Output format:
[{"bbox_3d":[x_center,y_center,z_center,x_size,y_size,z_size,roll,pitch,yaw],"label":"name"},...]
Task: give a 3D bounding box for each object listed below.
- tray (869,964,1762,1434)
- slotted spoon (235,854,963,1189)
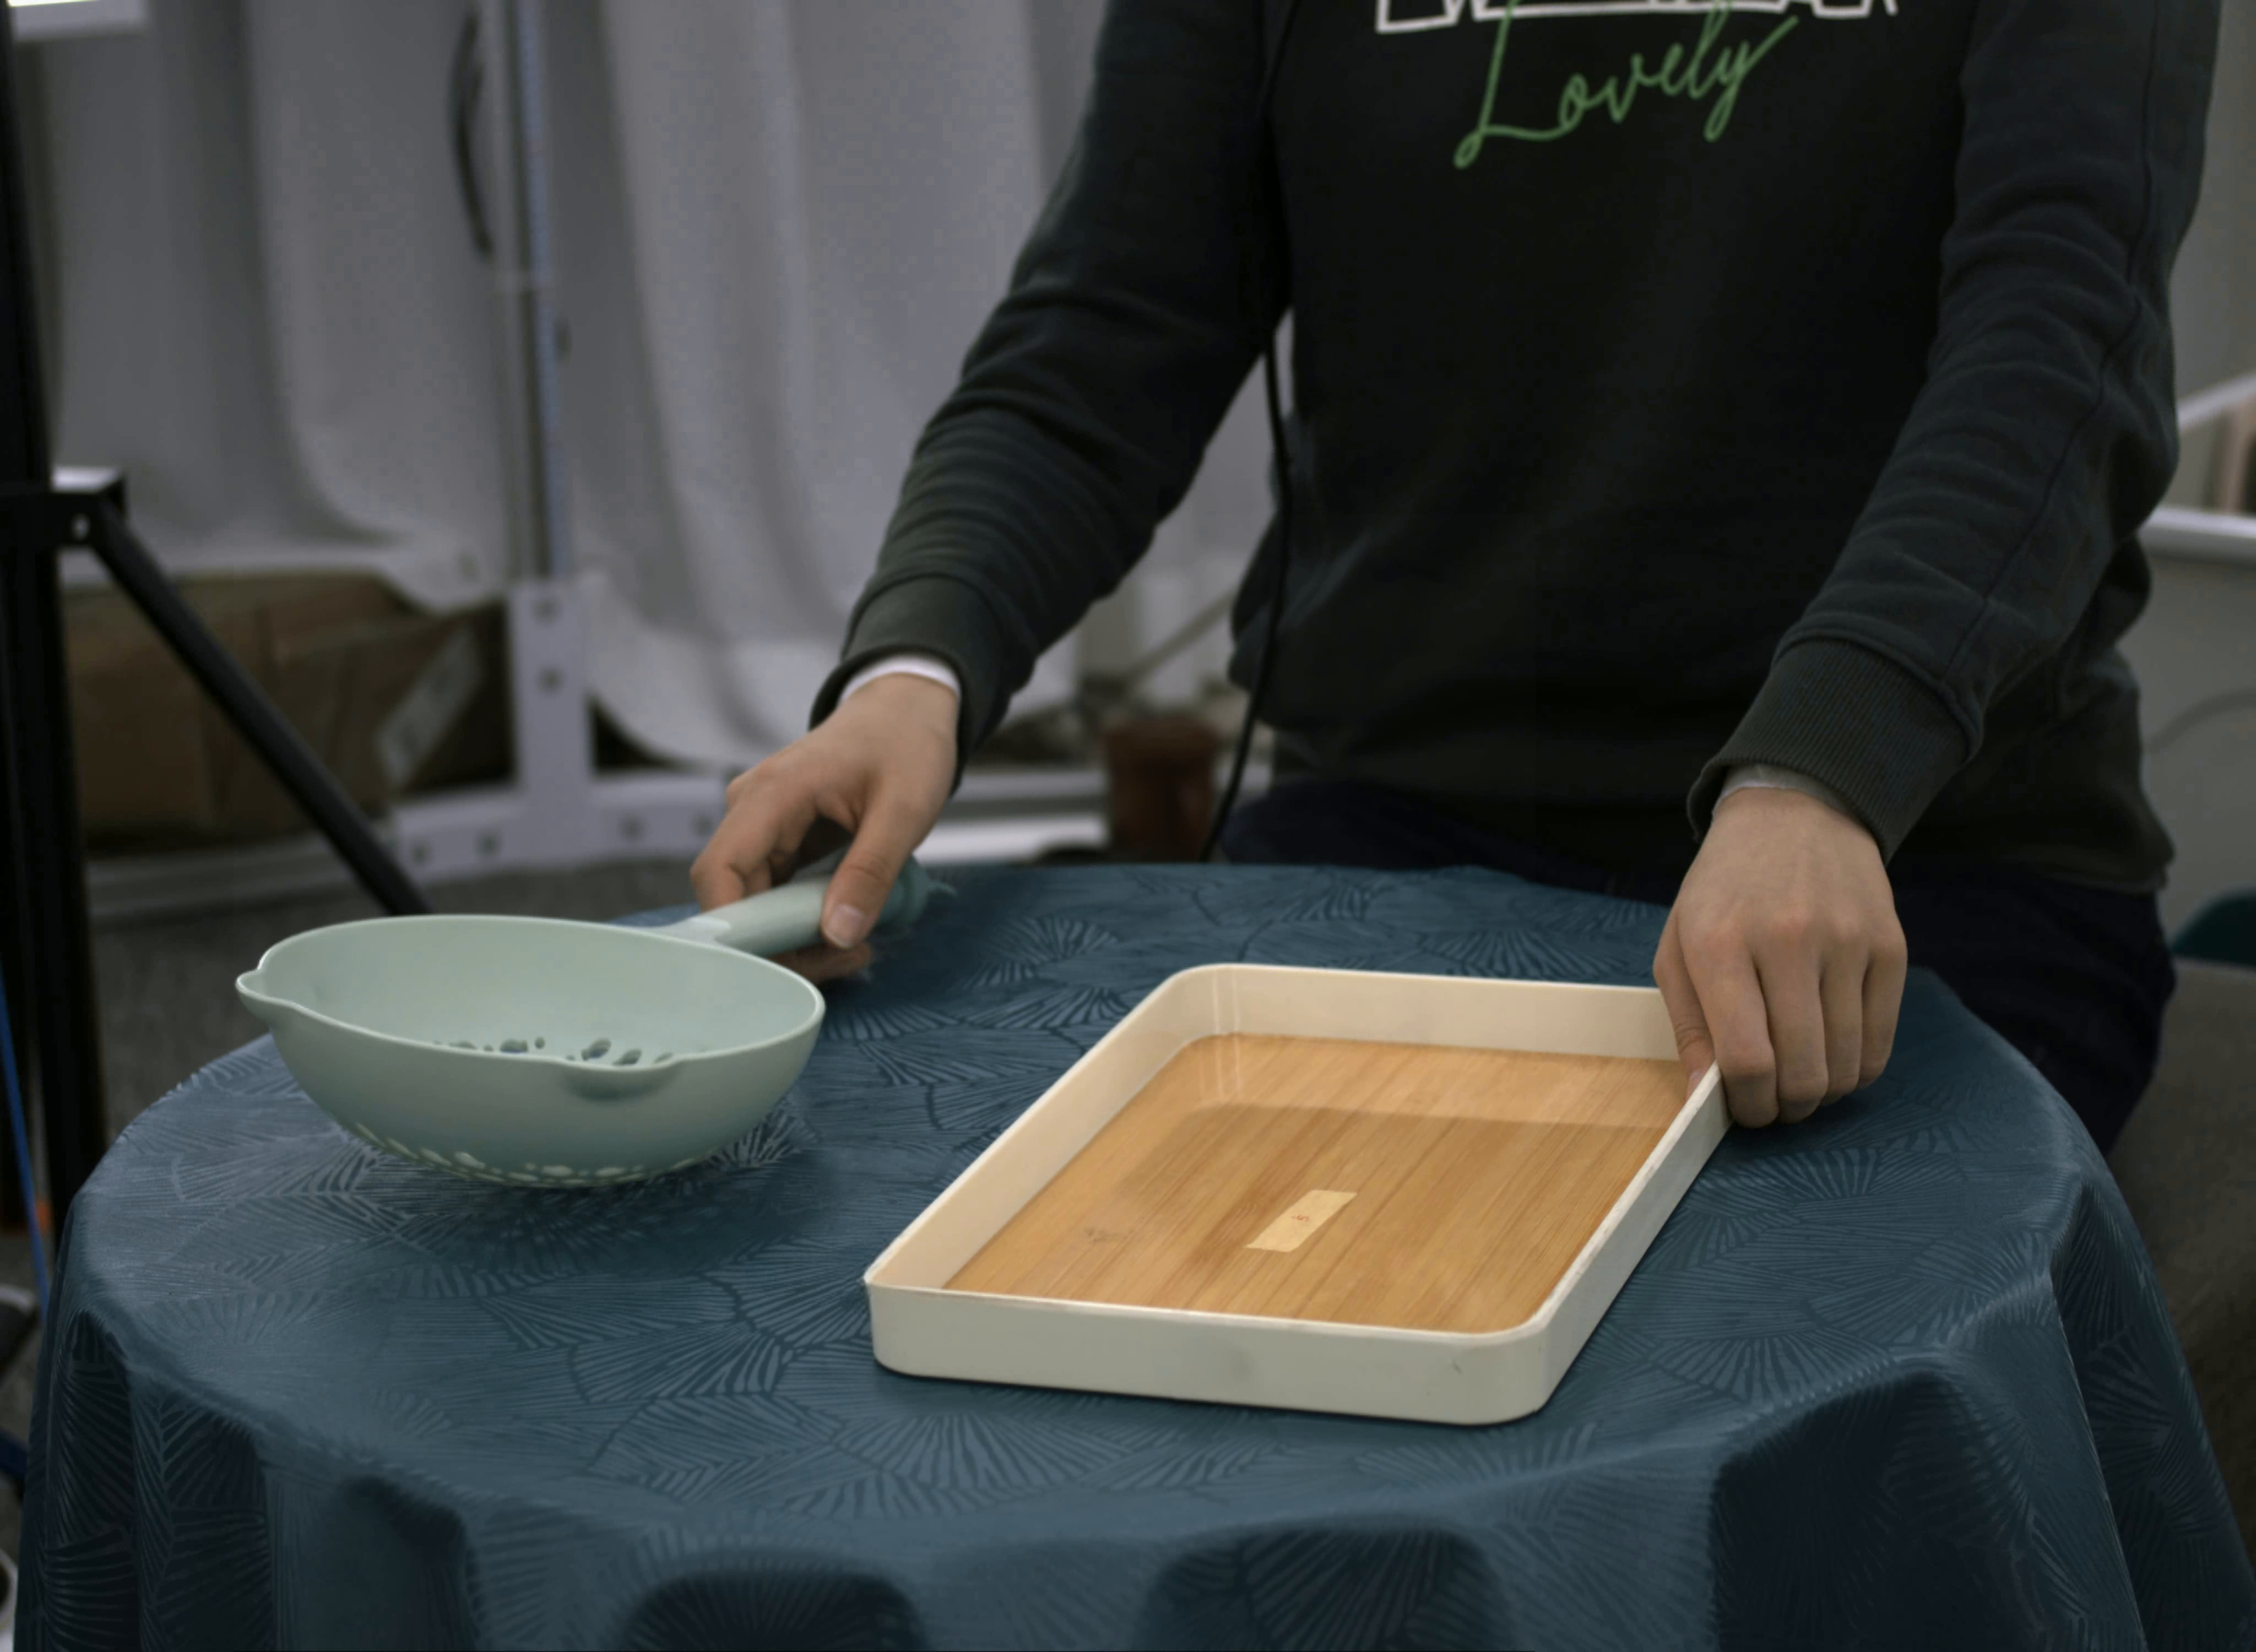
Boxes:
[{"bbox_3d":[0.062,0.101,1.524,0.194,0.027,0.297,3,17,19],"label":"tray"},{"bbox_3d":[-0.136,0.045,1.679,0.172,0.075,0.353,10,21,23],"label":"slotted spoon"}]
